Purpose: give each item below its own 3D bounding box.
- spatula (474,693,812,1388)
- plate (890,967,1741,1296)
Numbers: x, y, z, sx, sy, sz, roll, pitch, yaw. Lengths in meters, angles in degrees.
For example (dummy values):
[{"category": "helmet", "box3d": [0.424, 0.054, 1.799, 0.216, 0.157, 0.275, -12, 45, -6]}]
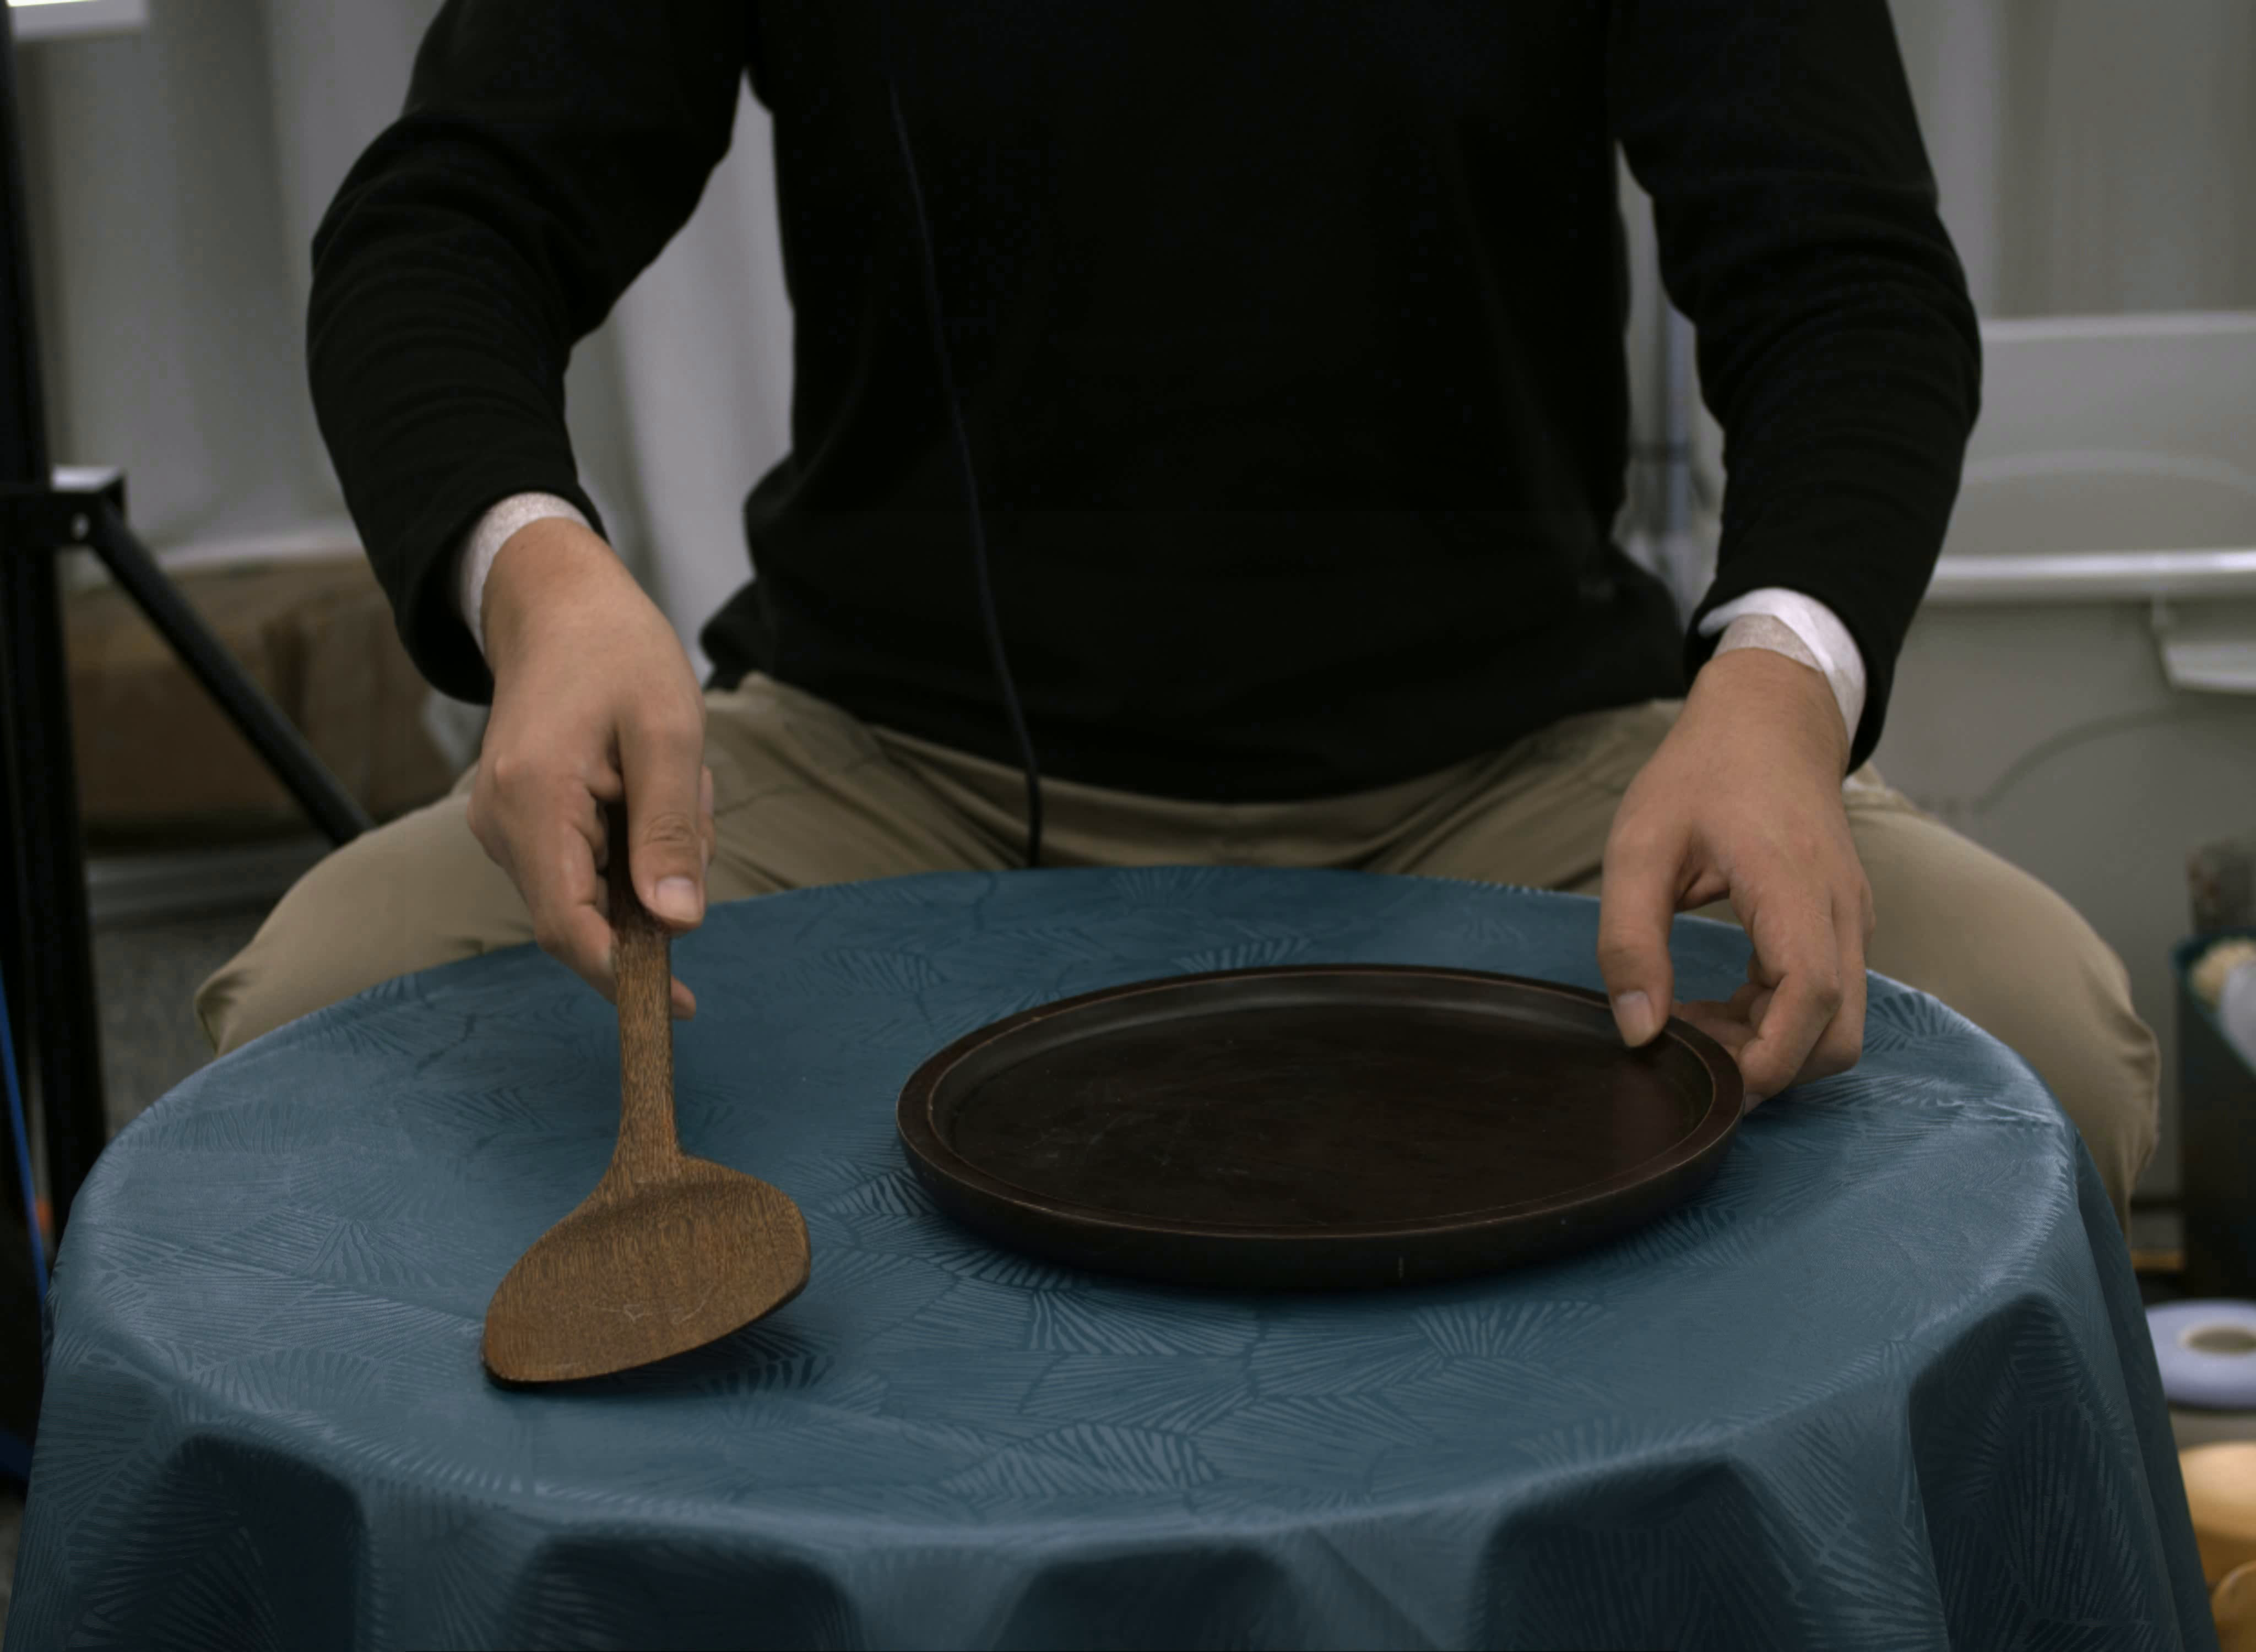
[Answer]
[{"category": "spatula", "box3d": [-0.144, 0.051, 1.588, 0.096, 0.015, 0.390, -18, 30, 5]}, {"category": "plate", "box3d": [0.056, 0.088, 1.575, 0.253, 0.029, 0.256, -4, 15, 0]}]
